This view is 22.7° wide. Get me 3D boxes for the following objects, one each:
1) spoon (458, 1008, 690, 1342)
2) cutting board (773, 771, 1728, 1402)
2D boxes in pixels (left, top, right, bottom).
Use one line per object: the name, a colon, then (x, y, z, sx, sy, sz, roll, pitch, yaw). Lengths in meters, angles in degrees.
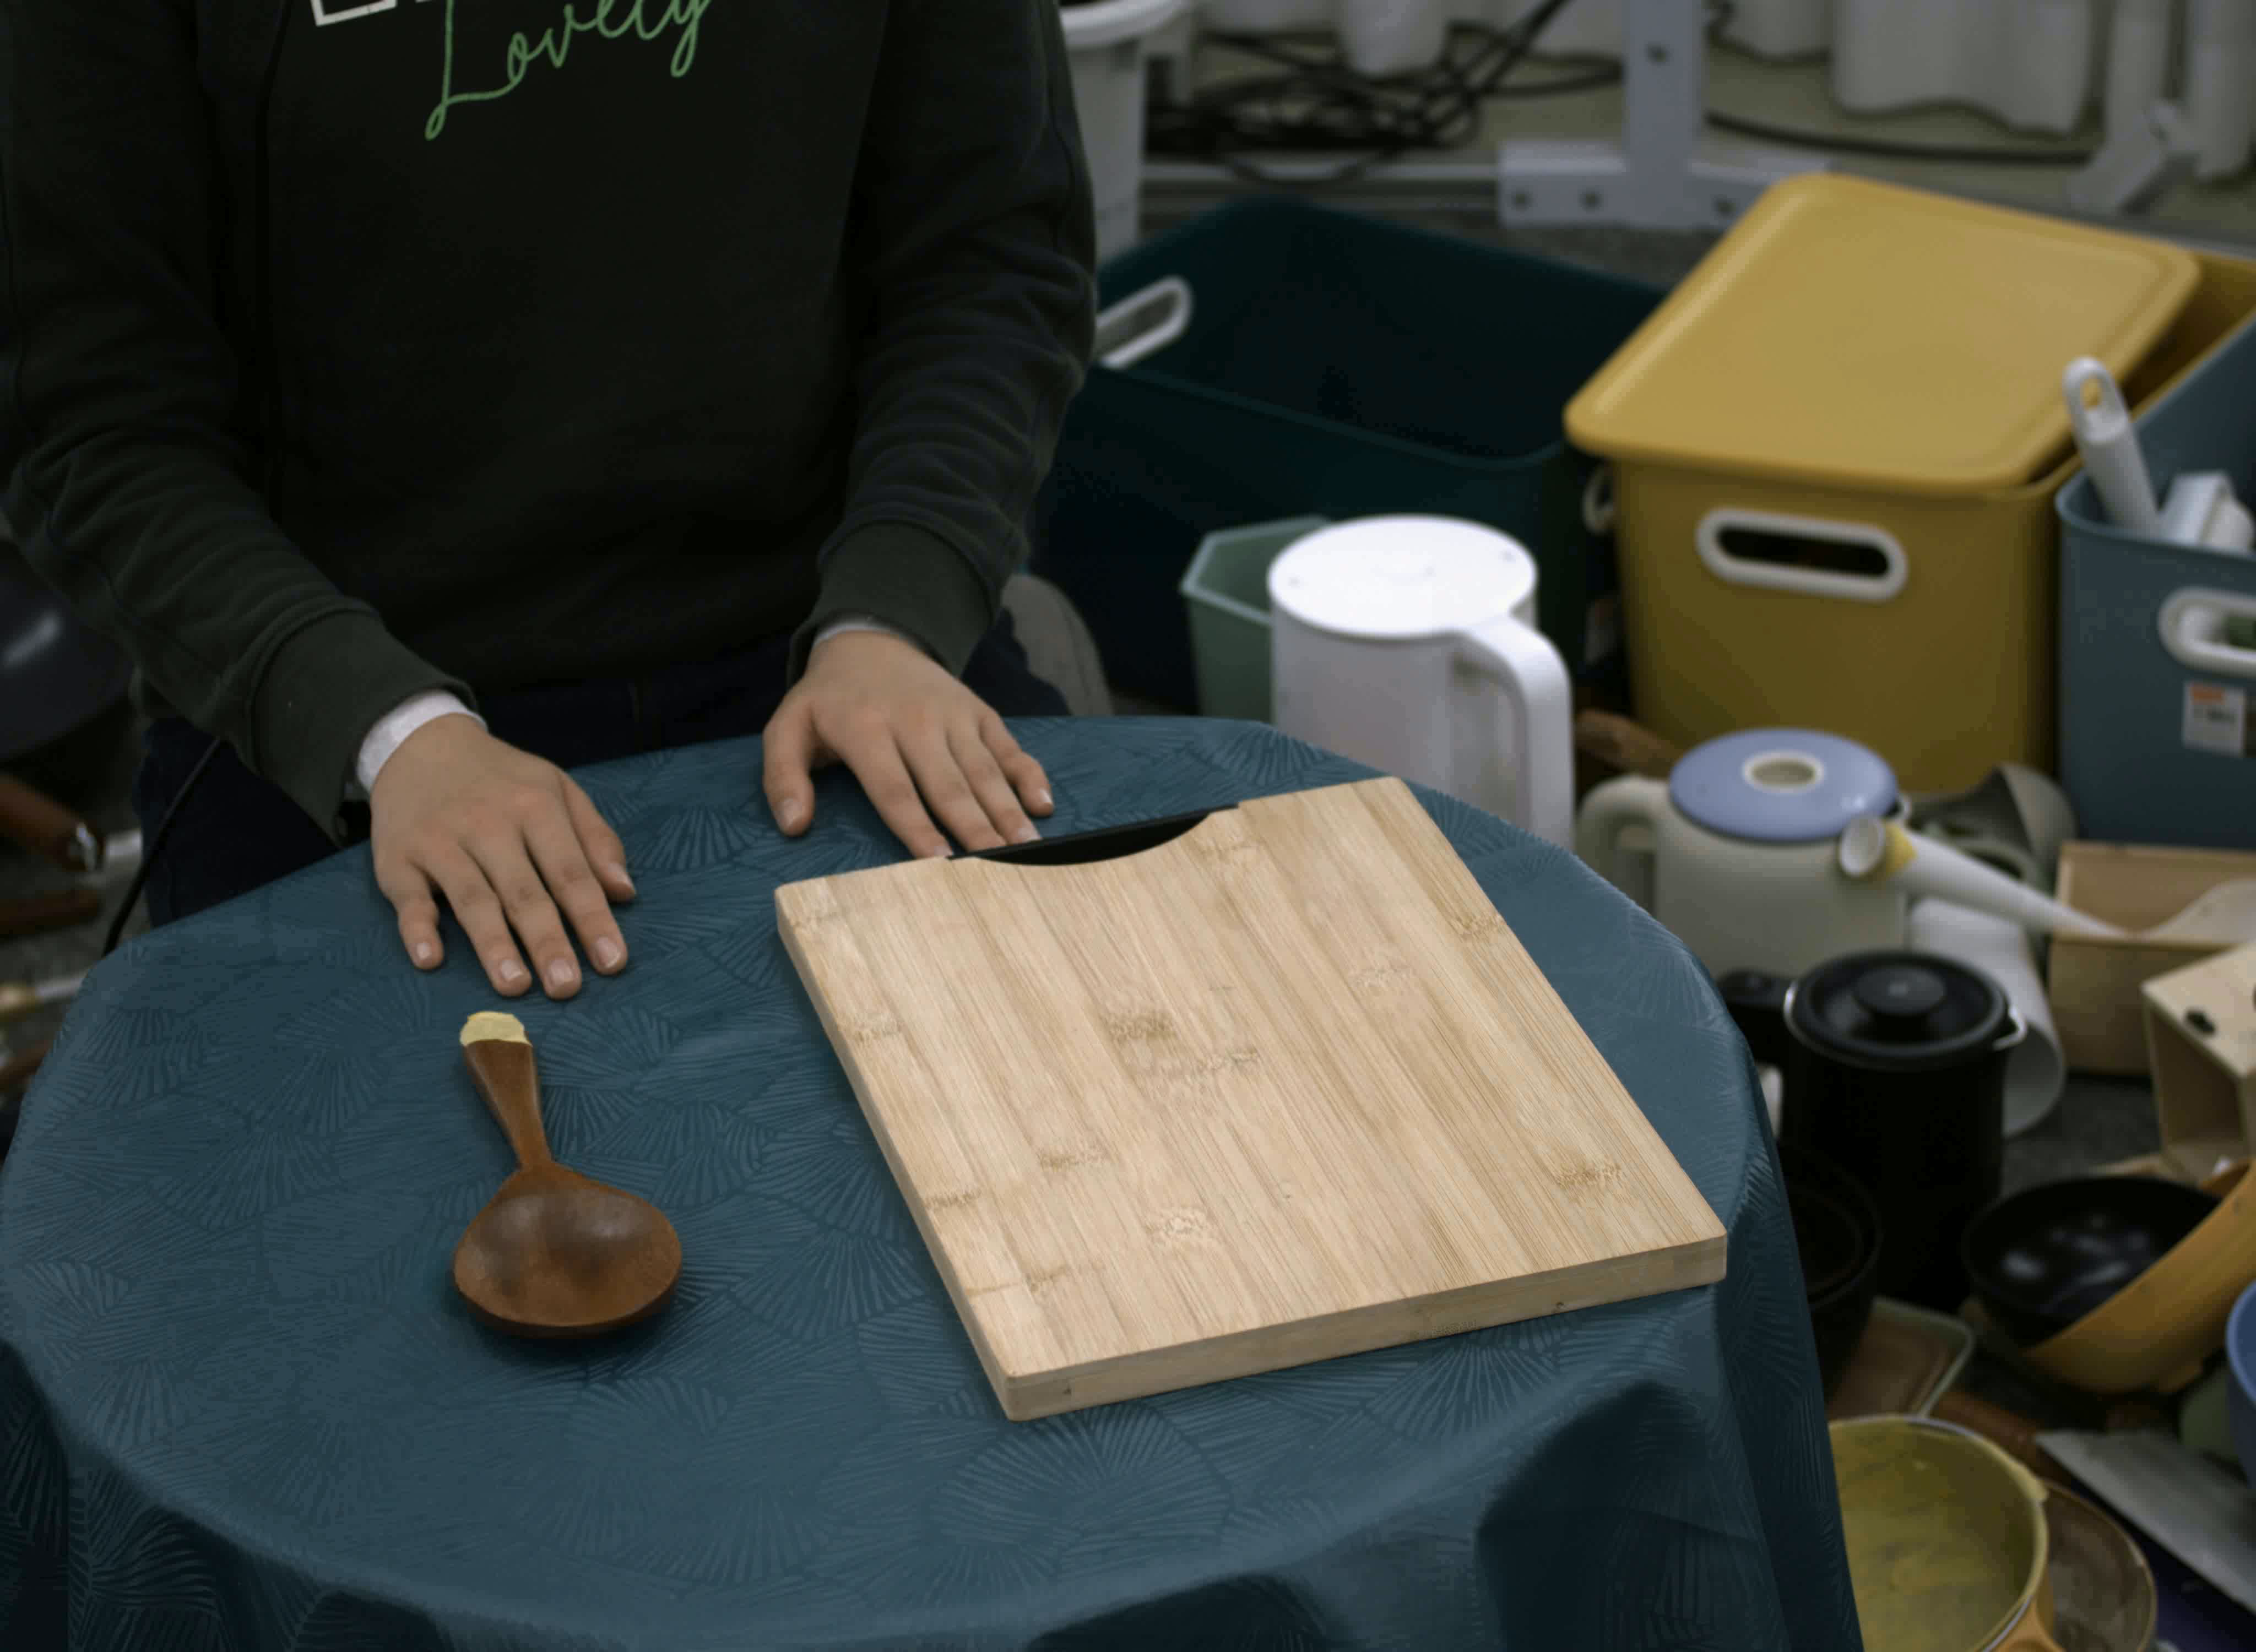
spoon: (-0.195, 0.117, 1.871, 0.075, 0.017, 0.218, -10, 28, -12)
cutting board: (0.031, 0.082, 1.918, 0.251, 0.023, 0.352, -10, 28, -14)
